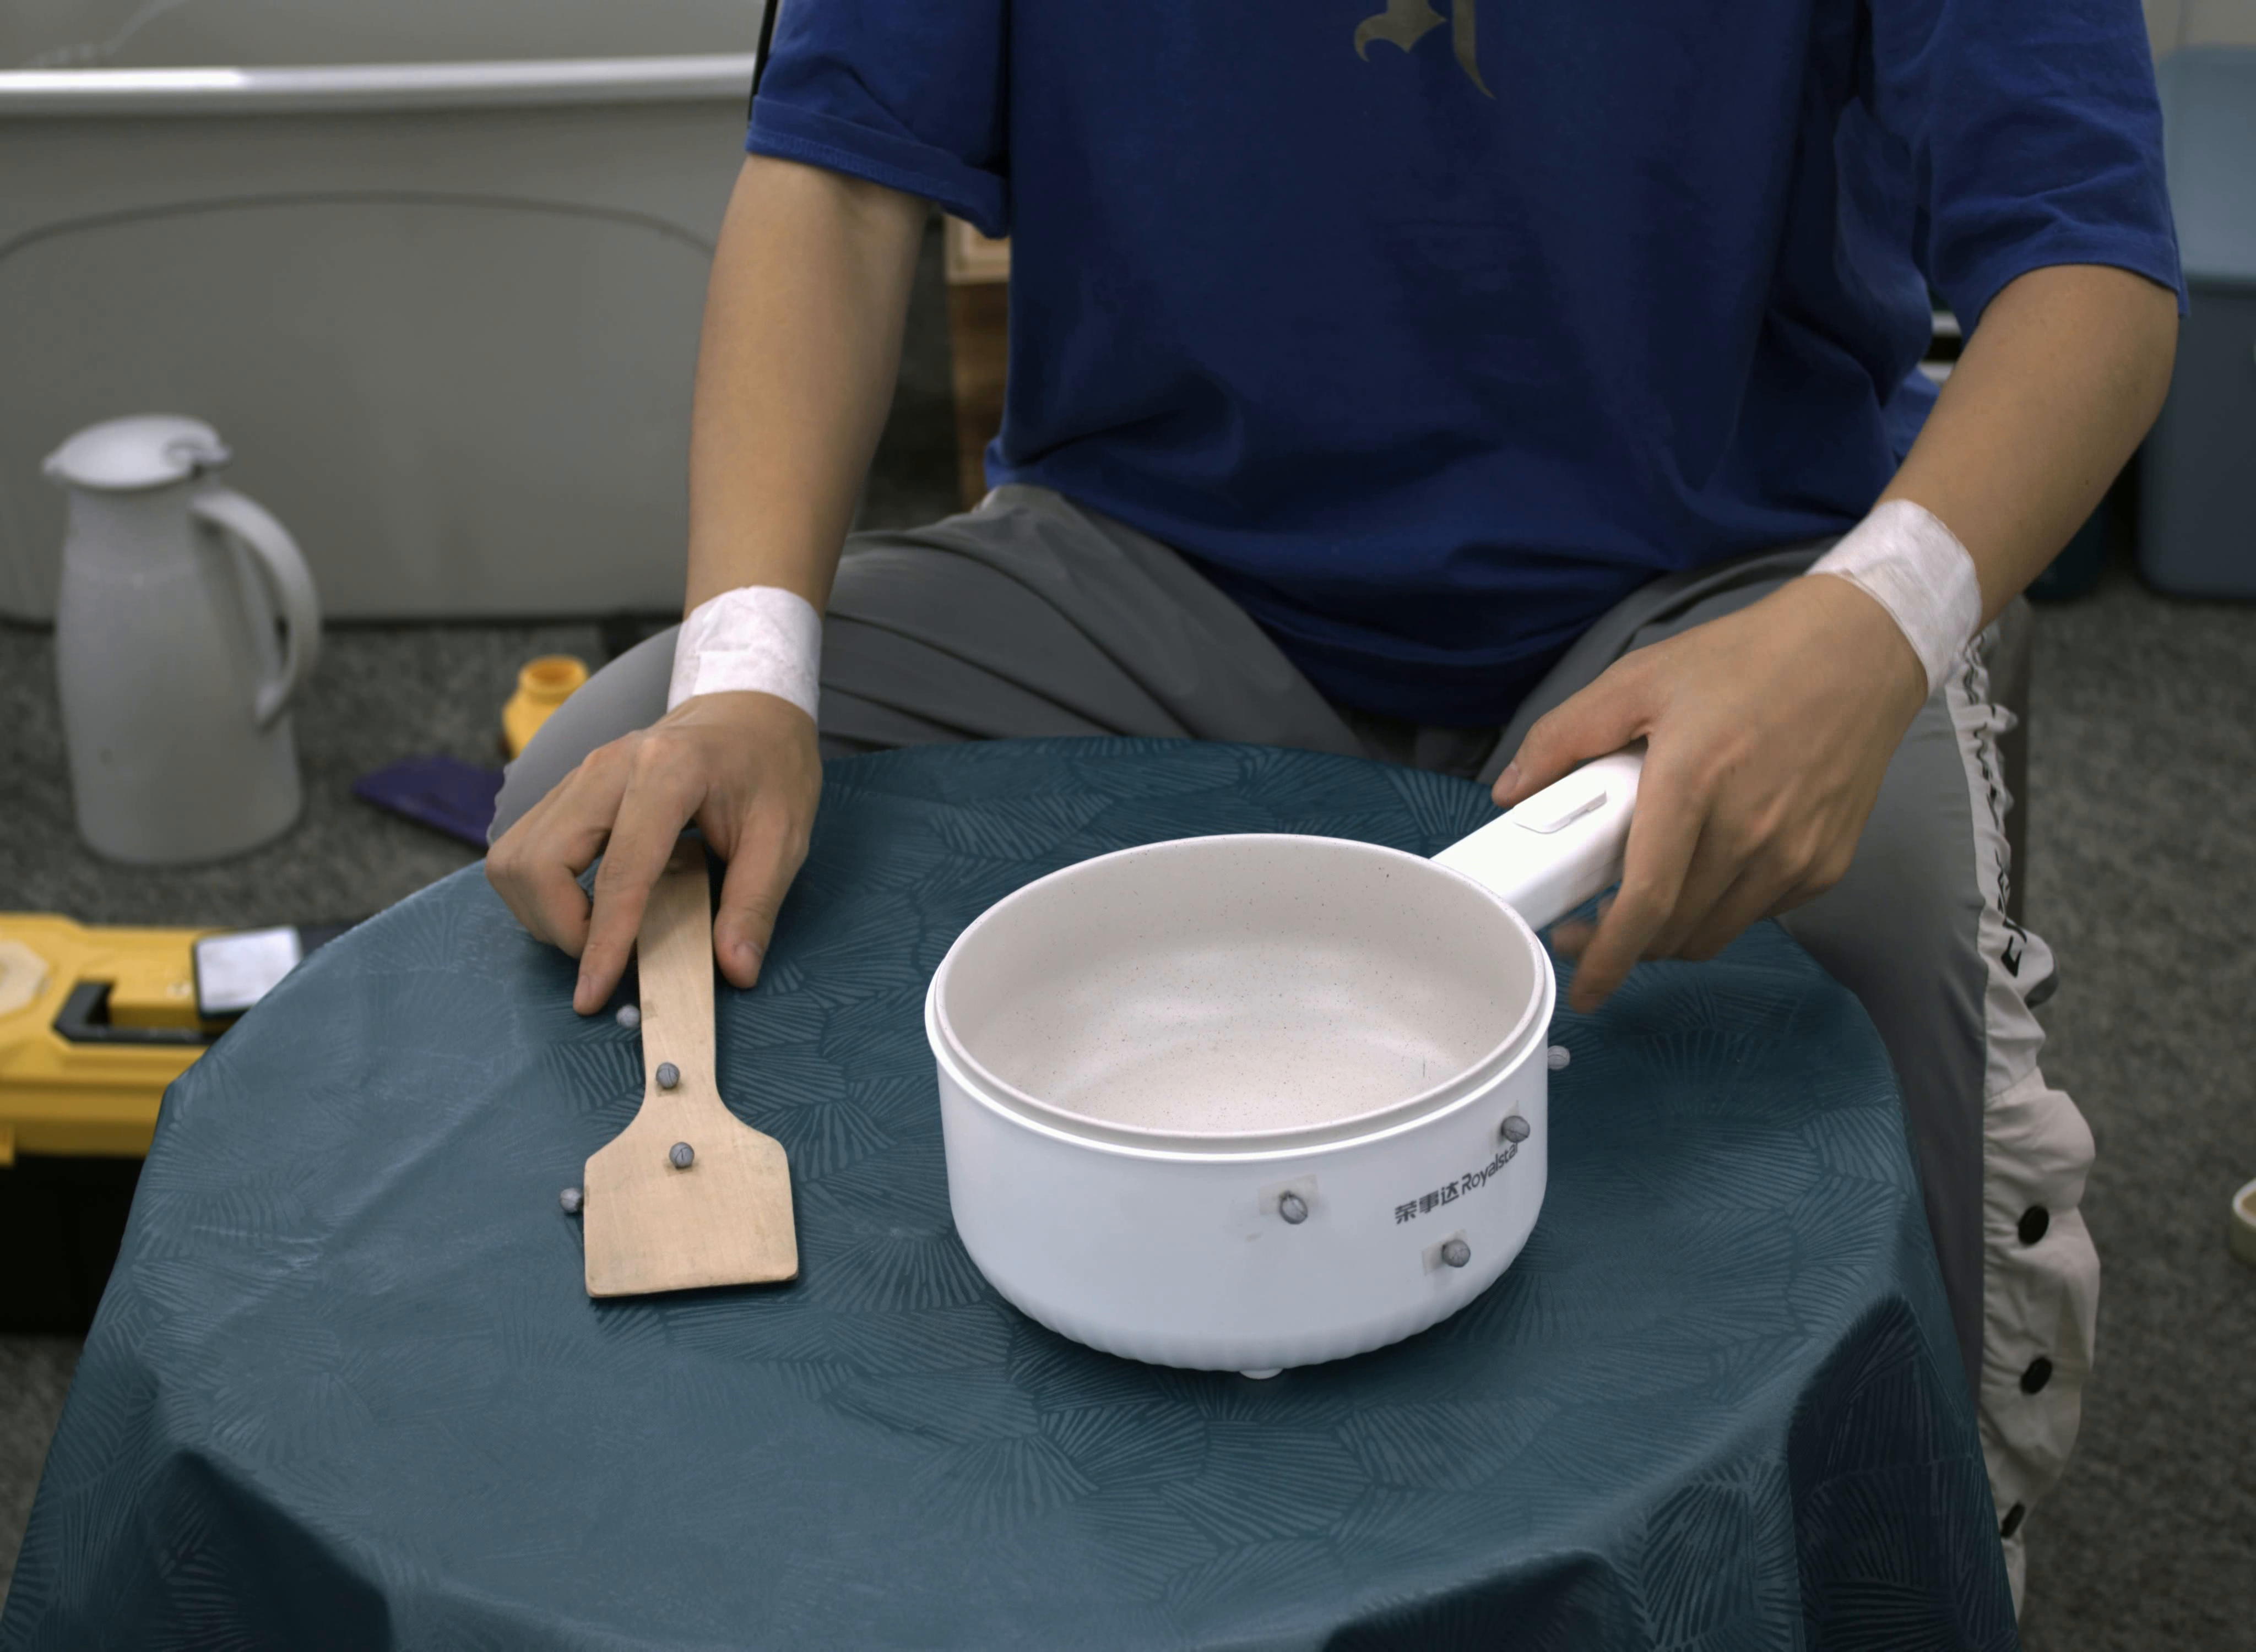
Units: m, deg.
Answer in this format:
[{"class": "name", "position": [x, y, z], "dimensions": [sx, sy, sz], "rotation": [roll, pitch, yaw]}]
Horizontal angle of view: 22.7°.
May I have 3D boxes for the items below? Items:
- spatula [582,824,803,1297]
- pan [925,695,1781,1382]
[{"class": "spatula", "position": [-0.155, 0.077, 1.942], "dimensions": [0.072, 0.010, 0.297], "rotation": [-5, 31, -3]}, {"class": "pan", "position": [0.091, 0.065, 1.857], "dimensions": [0.200, 0.101, 0.359], "rotation": [18, 34, 40]}]
